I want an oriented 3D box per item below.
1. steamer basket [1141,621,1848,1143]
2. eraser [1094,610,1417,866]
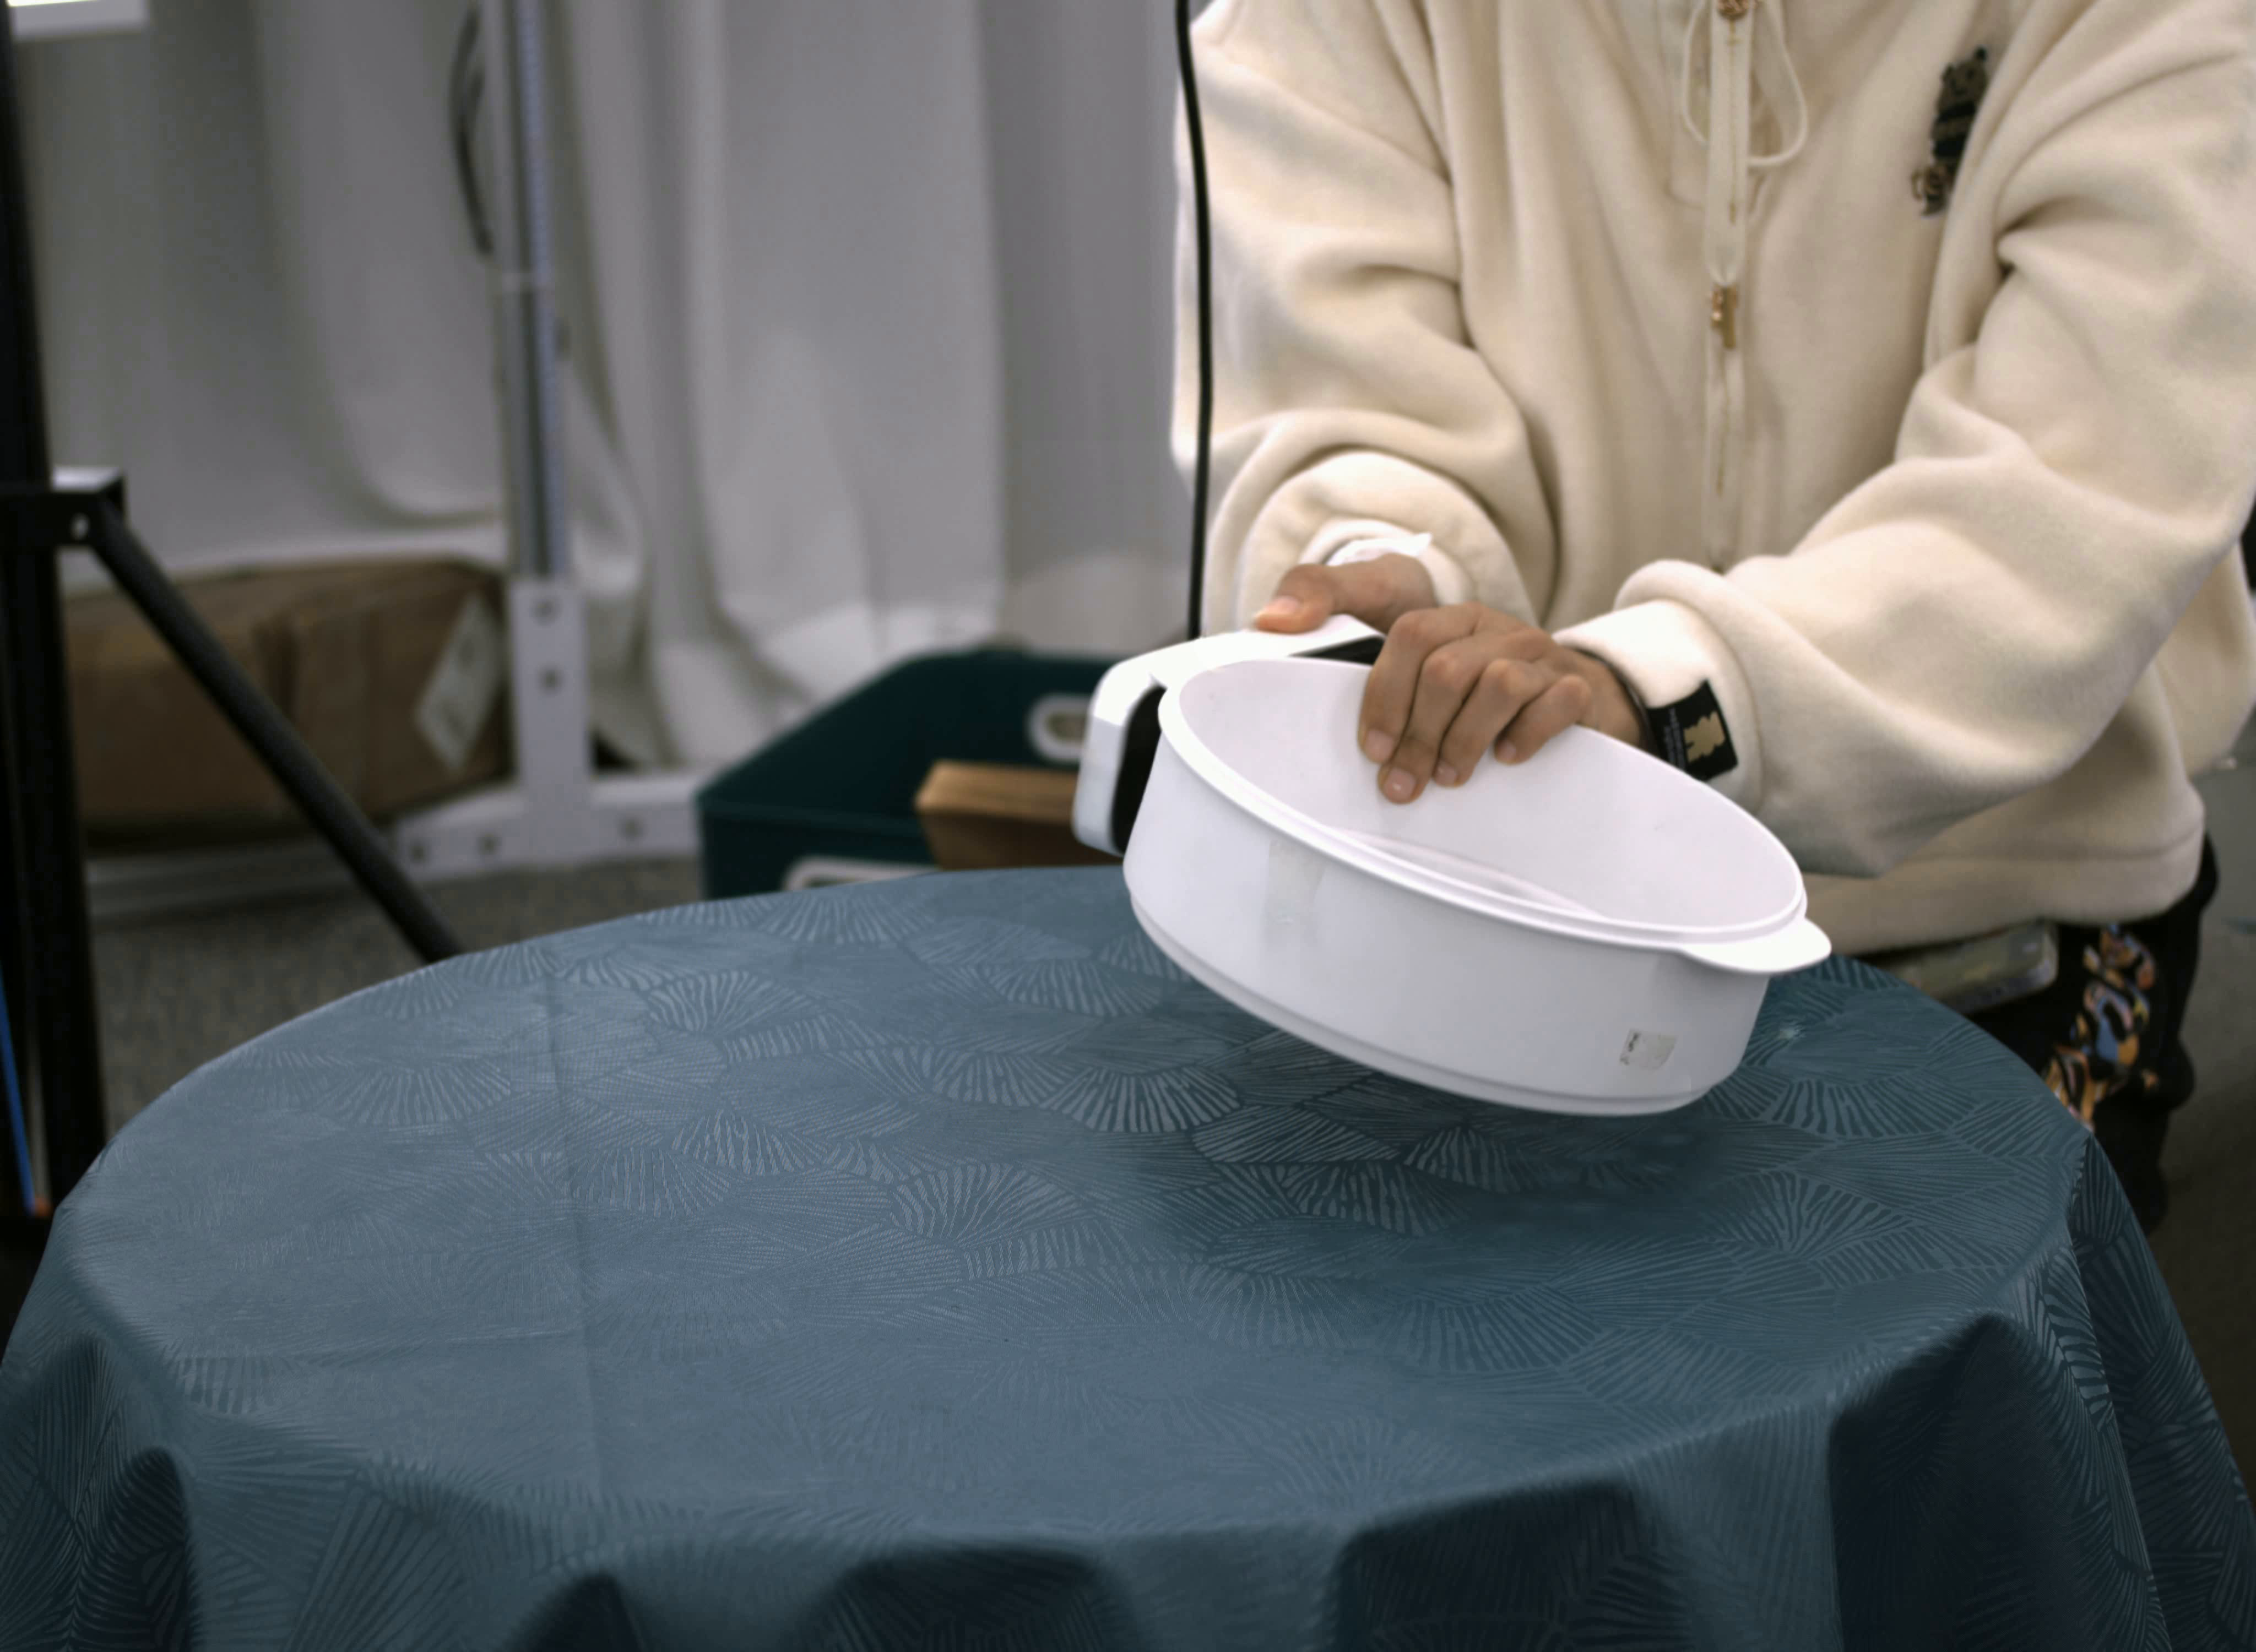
[{"bbox_3d":[0.102,0.019,1.568,0.235,0.069,0.197,33,26,30],"label":"steamer basket"},{"bbox_3d":[0.039,-0.029,1.667,0.035,0.063,0.128,24,28,35],"label":"eraser"}]
